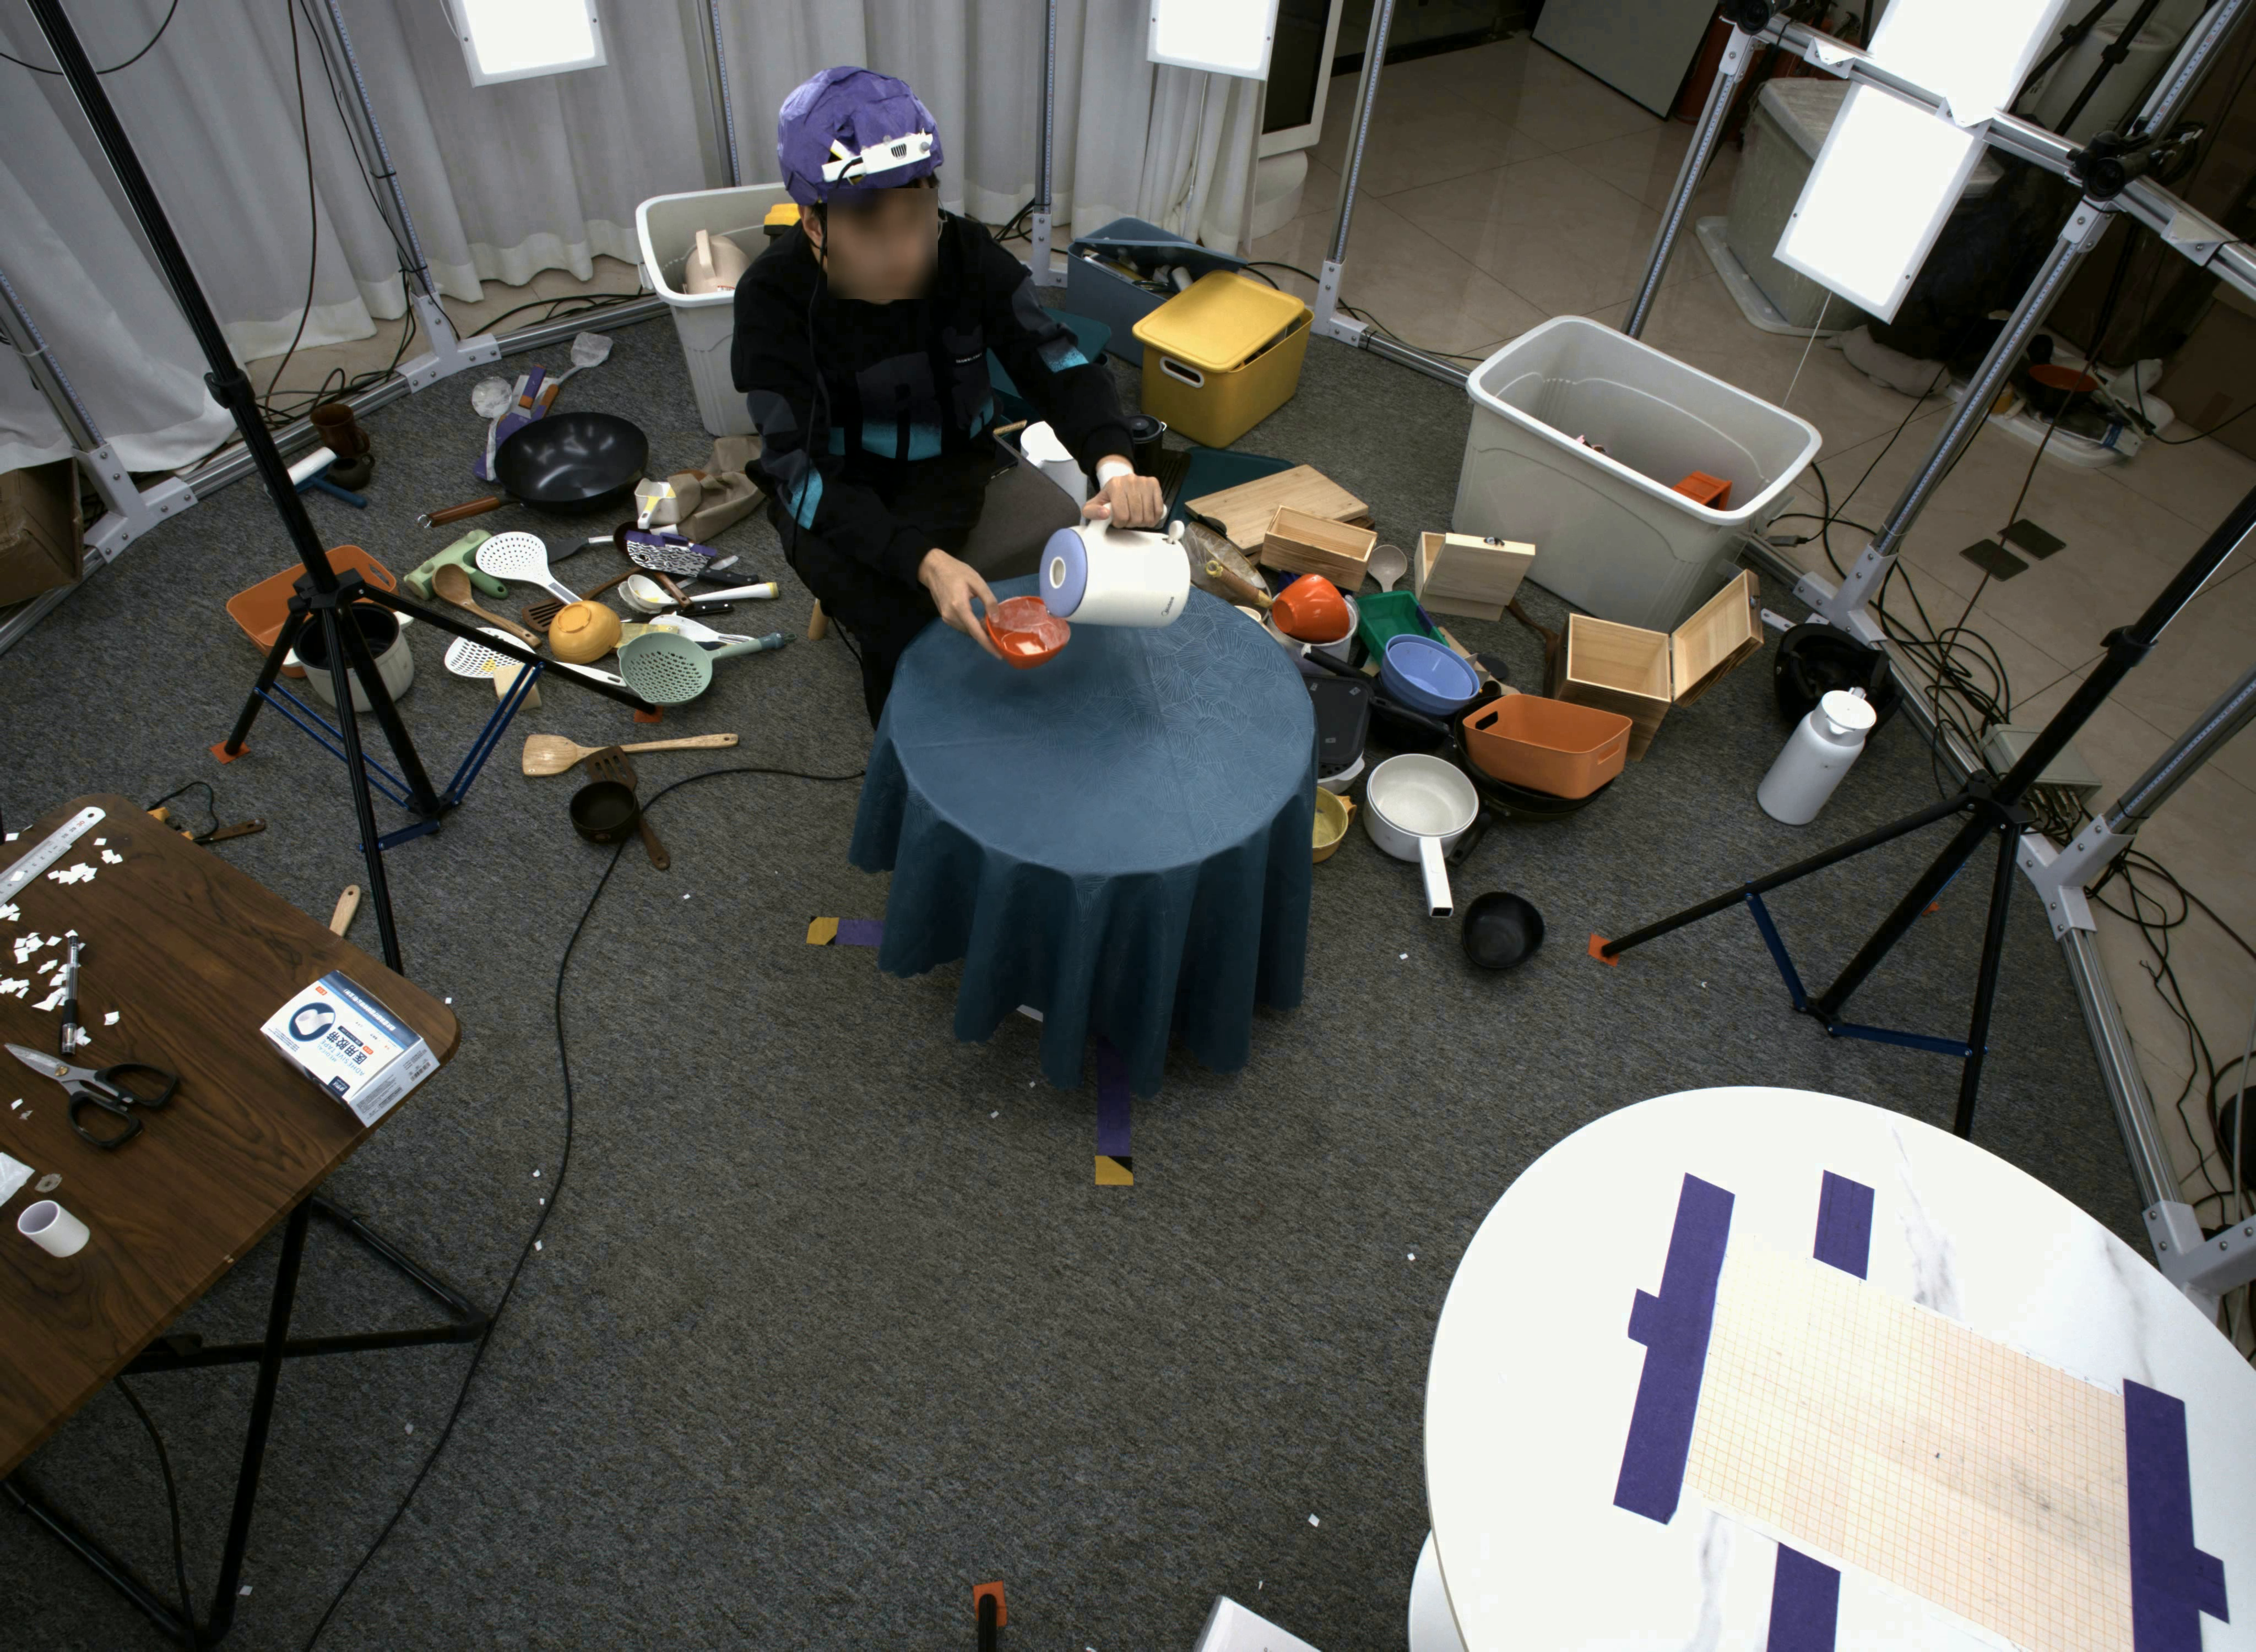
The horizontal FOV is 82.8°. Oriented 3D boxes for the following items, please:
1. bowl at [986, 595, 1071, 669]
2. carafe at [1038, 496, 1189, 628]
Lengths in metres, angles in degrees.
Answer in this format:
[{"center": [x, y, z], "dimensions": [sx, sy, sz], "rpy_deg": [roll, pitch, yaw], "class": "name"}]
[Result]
[{"center": [-0.139, -0.262, 1.780], "dimensions": [0.119, 0.050, 0.122], "rpy_deg": [4, 54, -6], "class": "bowl"}, {"center": [-0.011, -0.359, 1.745], "dimensions": [0.181, 0.187, 0.135], "rpy_deg": [0, 39, -34], "class": "carafe"}]
